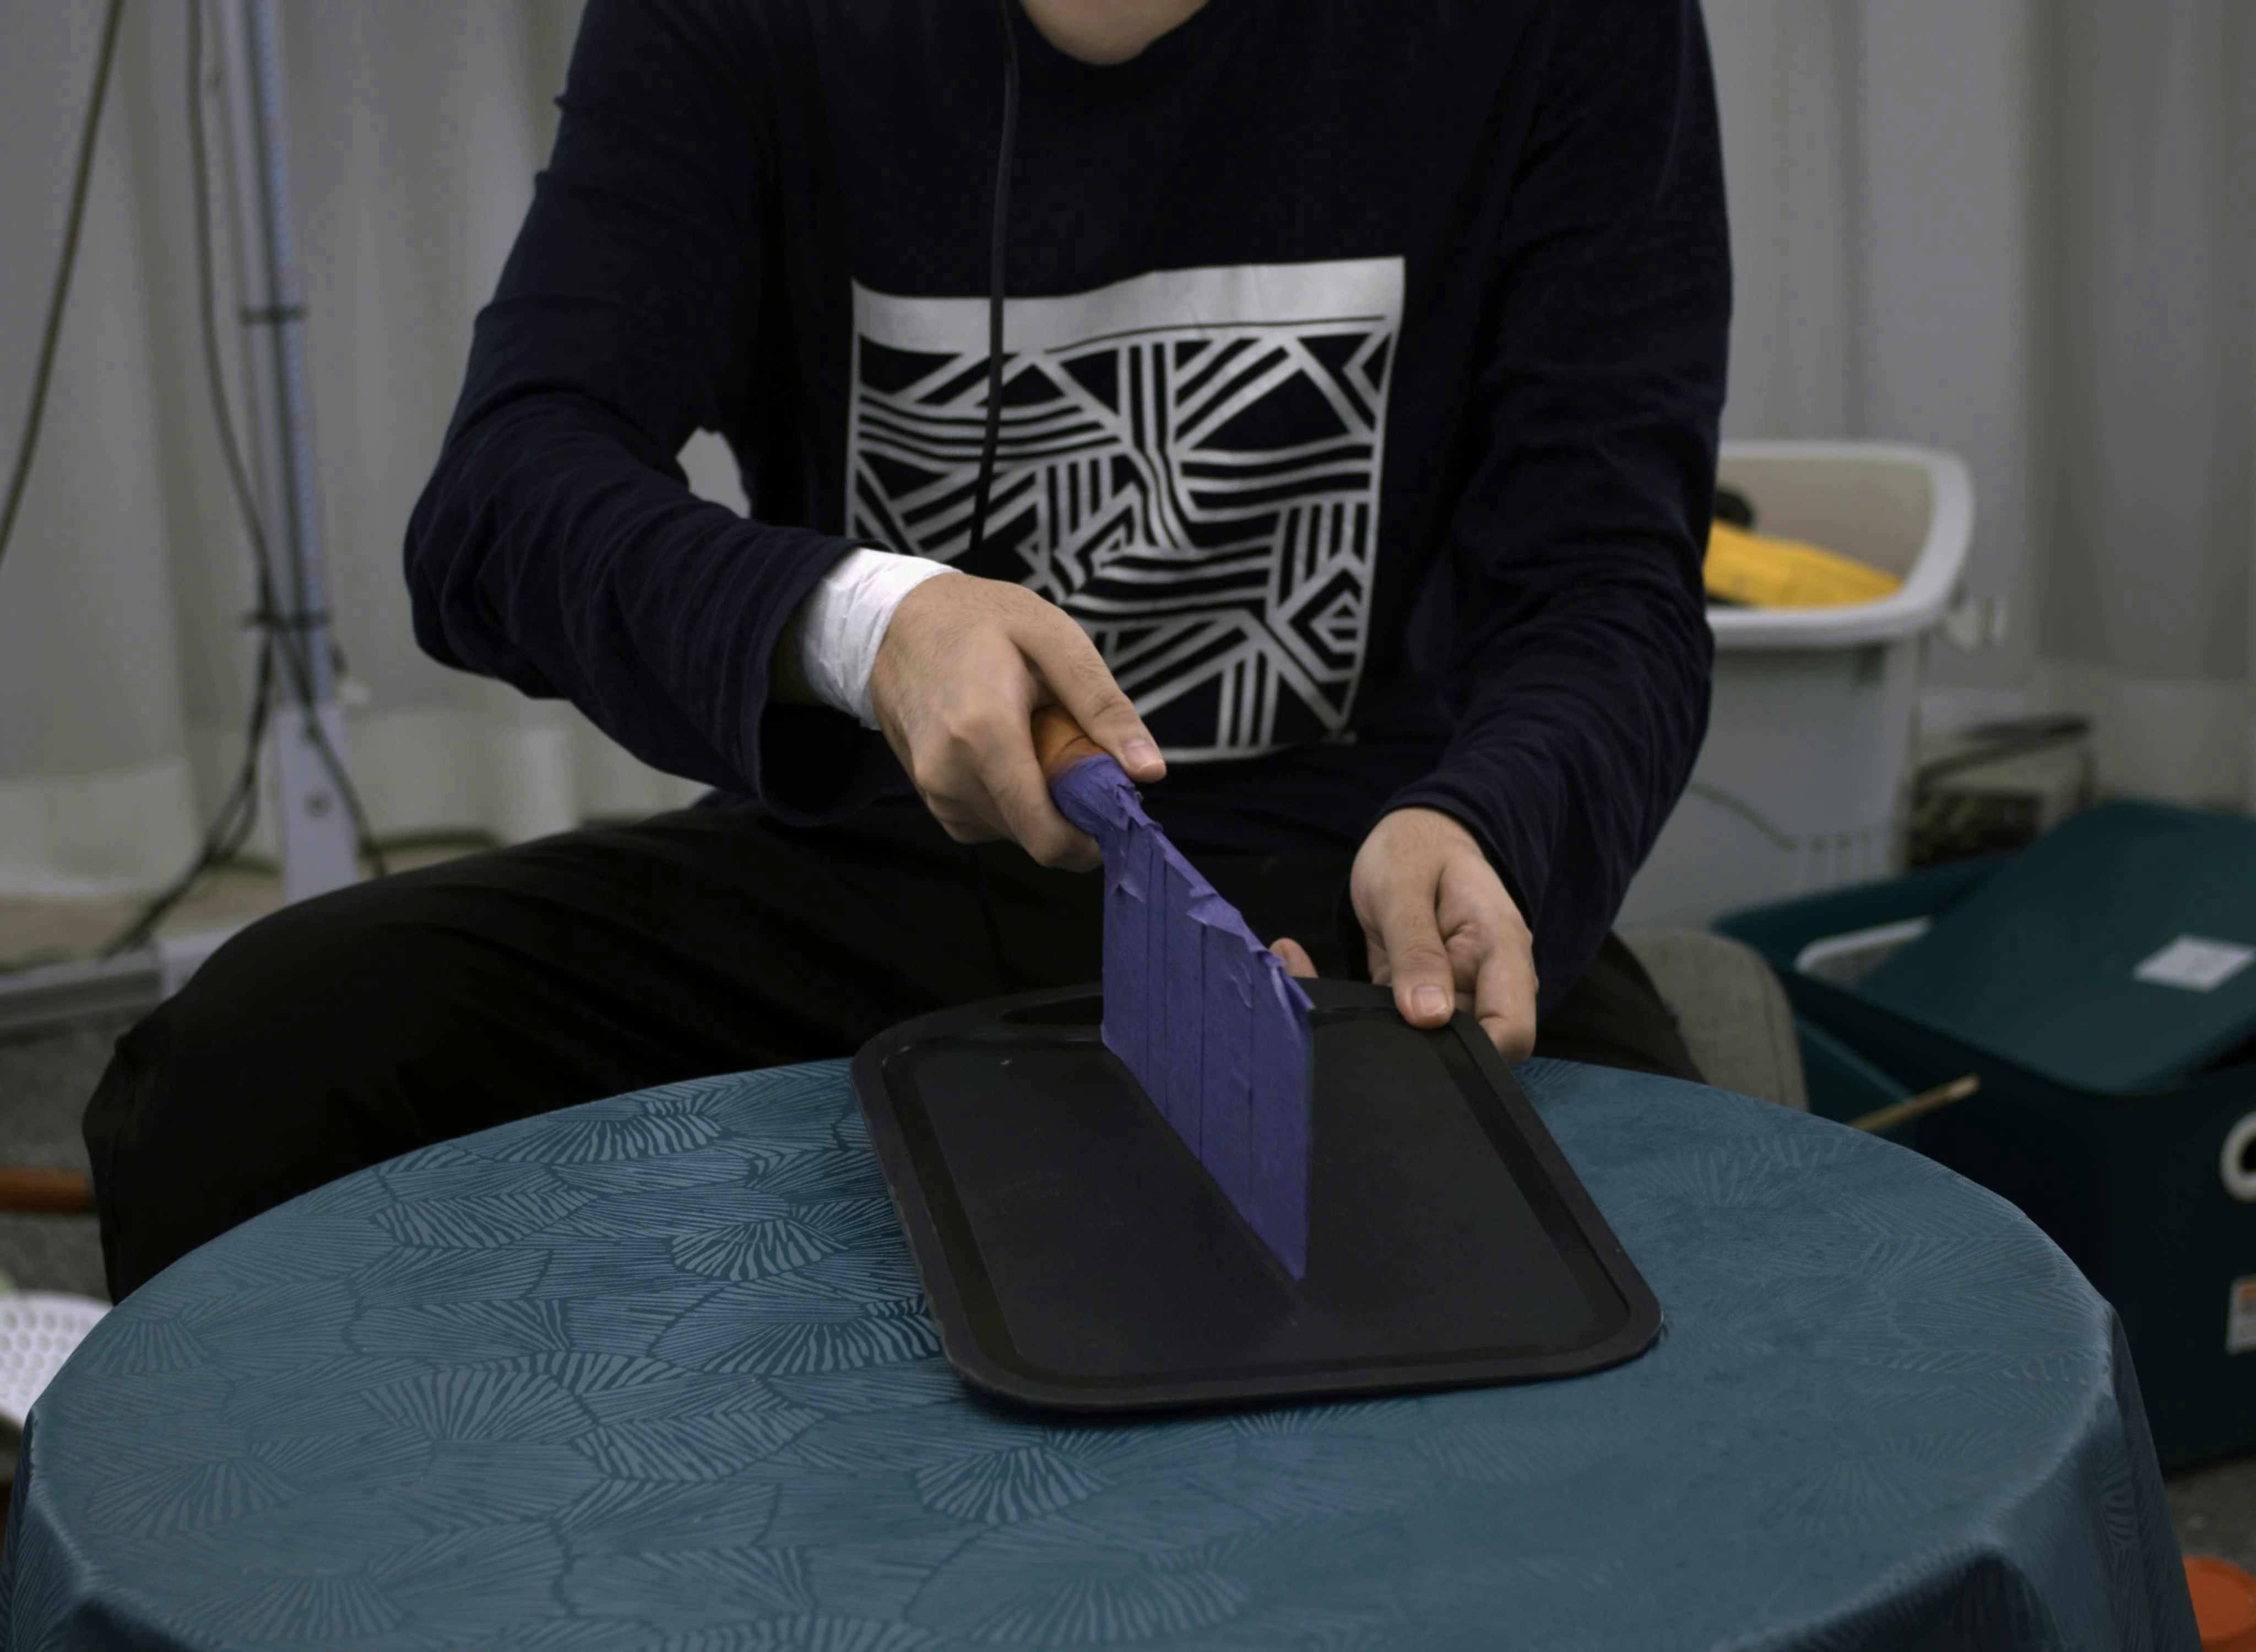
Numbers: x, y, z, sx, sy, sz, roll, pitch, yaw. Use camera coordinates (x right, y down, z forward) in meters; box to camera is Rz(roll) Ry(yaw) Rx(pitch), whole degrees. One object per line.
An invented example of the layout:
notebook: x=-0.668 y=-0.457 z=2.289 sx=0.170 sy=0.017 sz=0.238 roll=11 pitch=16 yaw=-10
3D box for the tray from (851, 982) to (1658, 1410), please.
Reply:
tray: x=0.029 y=0.105 z=1.676 sx=0.210 sy=0.010 sz=0.328 roll=-3 pitch=19 yaw=-9

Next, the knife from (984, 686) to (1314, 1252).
knife: x=0.004 y=0.042 z=1.704 sx=0.032 sy=0.103 sz=0.318 roll=-2 pitch=18 yaw=-15
